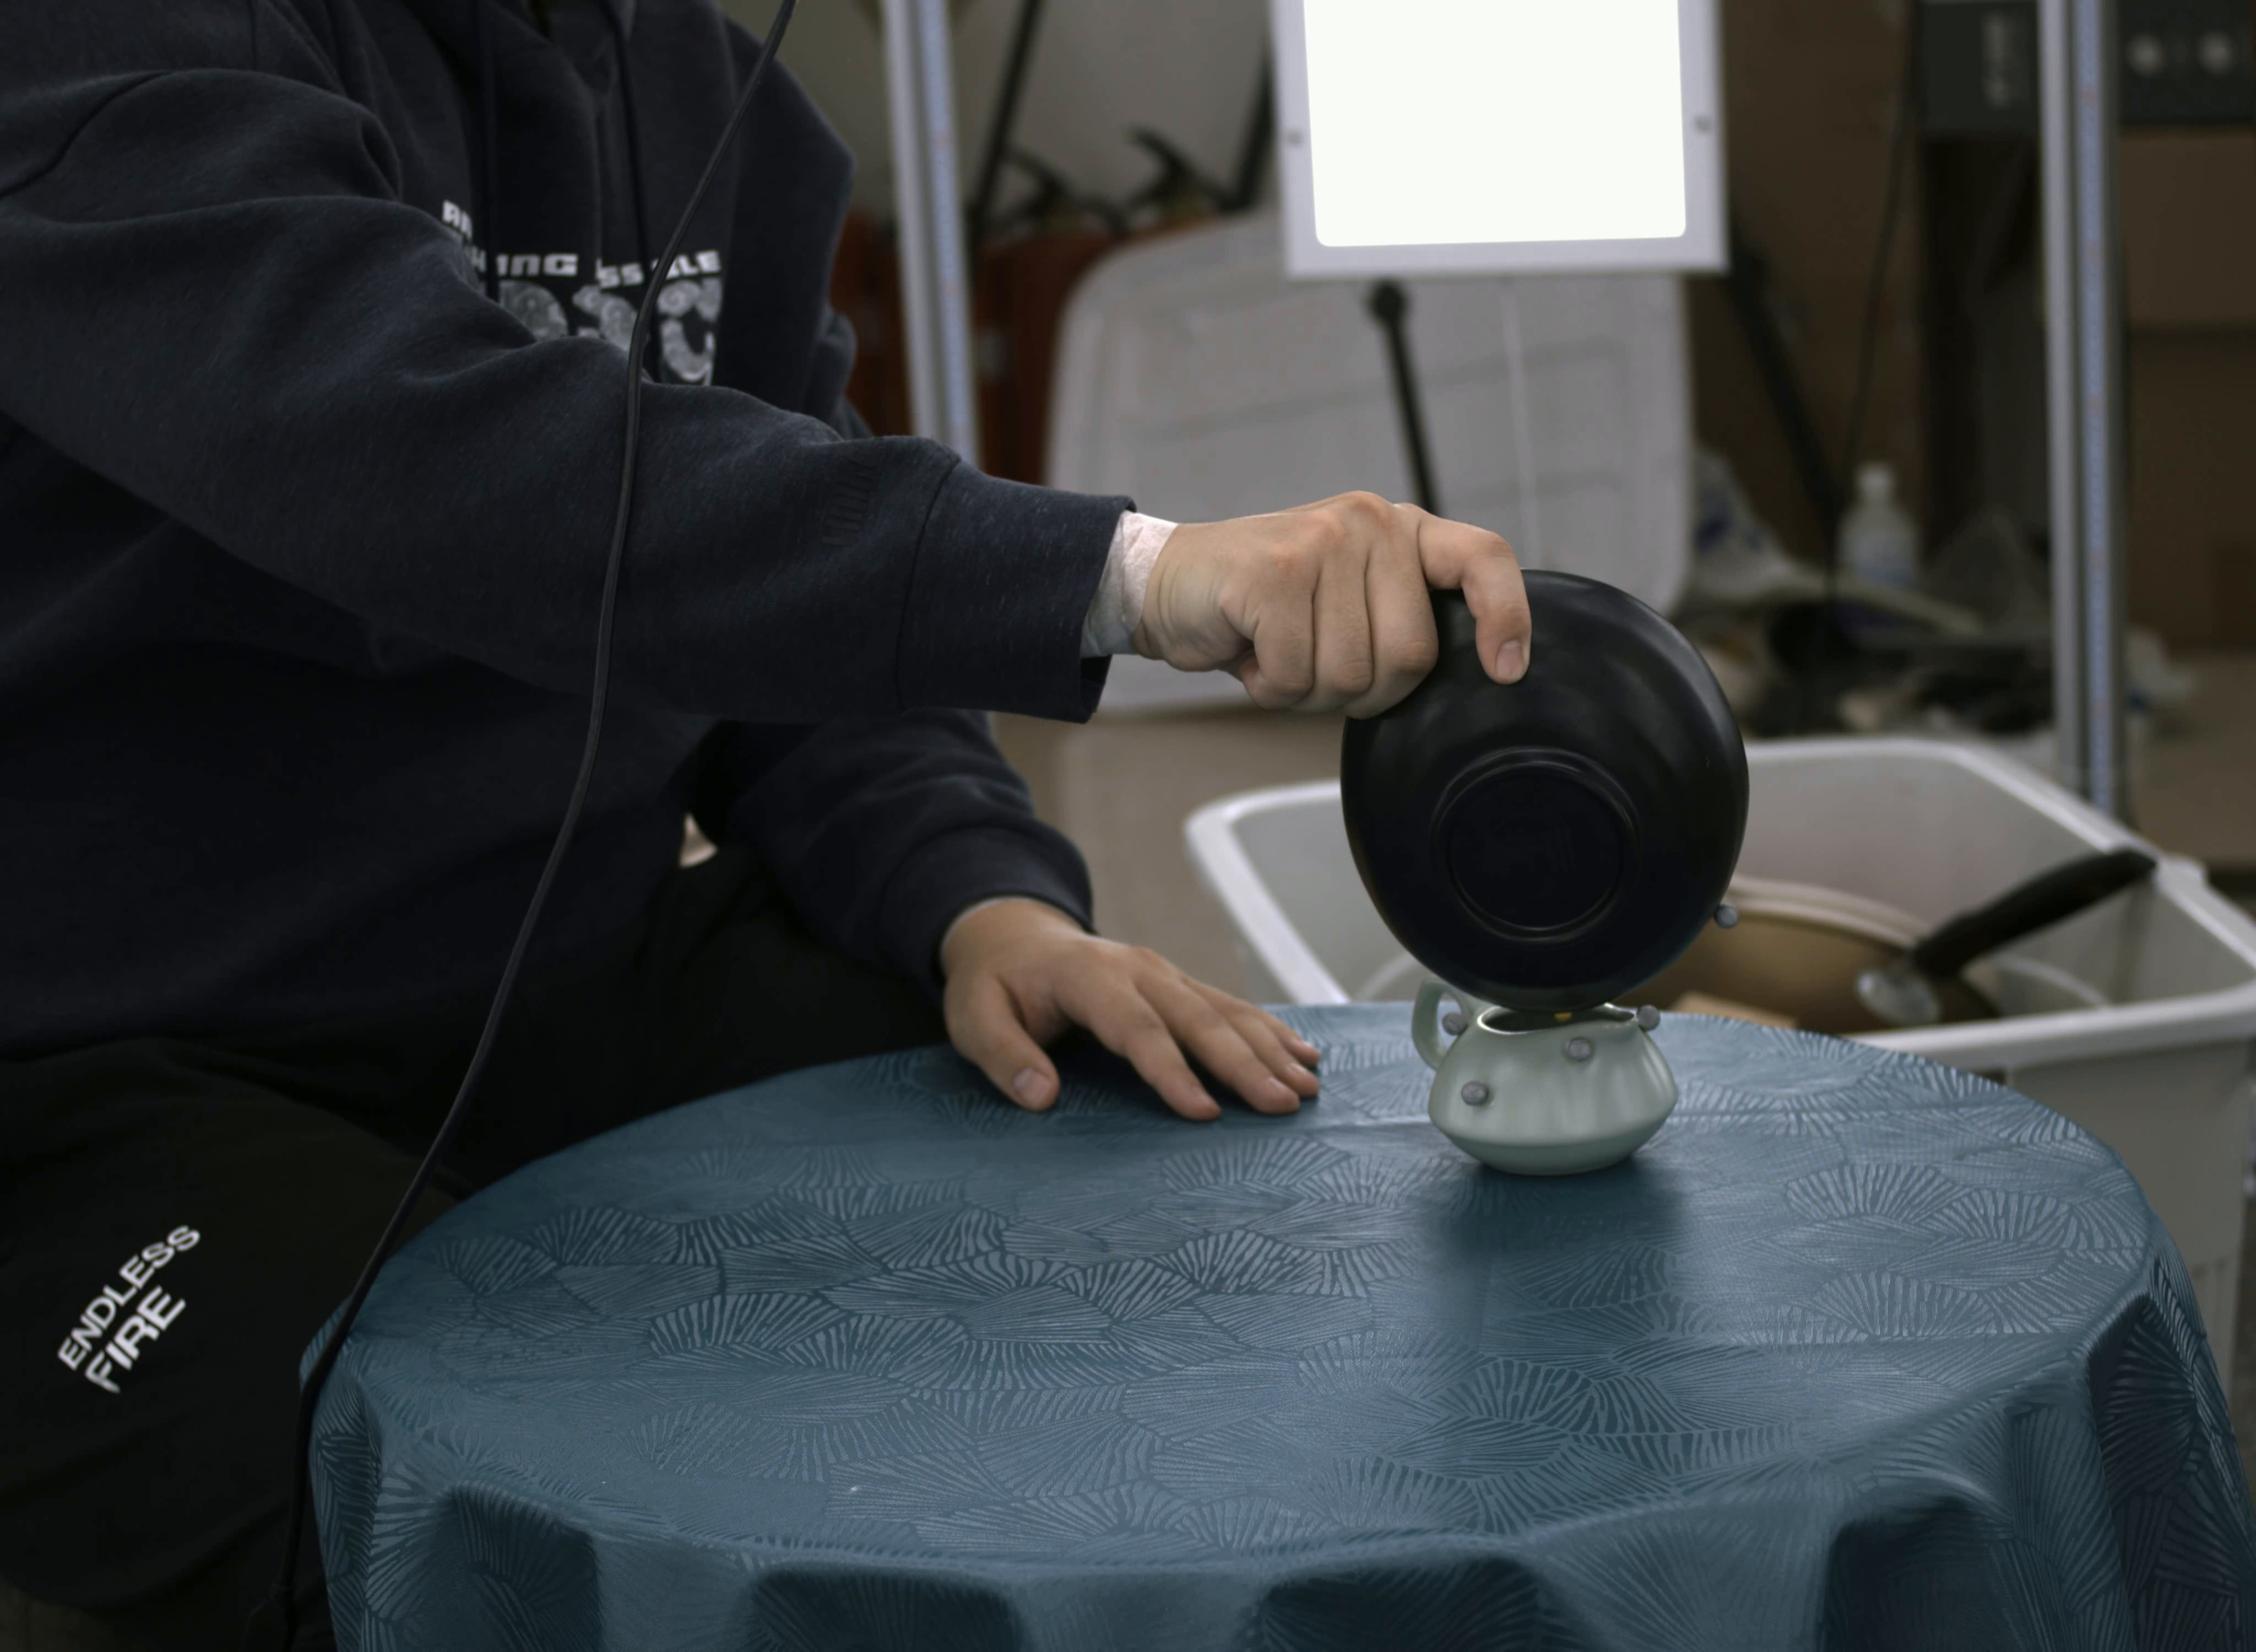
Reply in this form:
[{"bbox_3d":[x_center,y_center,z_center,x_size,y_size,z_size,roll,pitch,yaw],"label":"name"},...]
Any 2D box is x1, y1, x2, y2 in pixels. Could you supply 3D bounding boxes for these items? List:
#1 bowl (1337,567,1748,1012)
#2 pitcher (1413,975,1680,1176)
[{"bbox_3d":[0.137,-0.004,1.817,0.138,0.170,0.066,-7,27,11],"label":"bowl"},{"bbox_3d":[0.139,0.086,1.900,0.084,0.060,0.110,-15,15,-39],"label":"pitcher"}]
